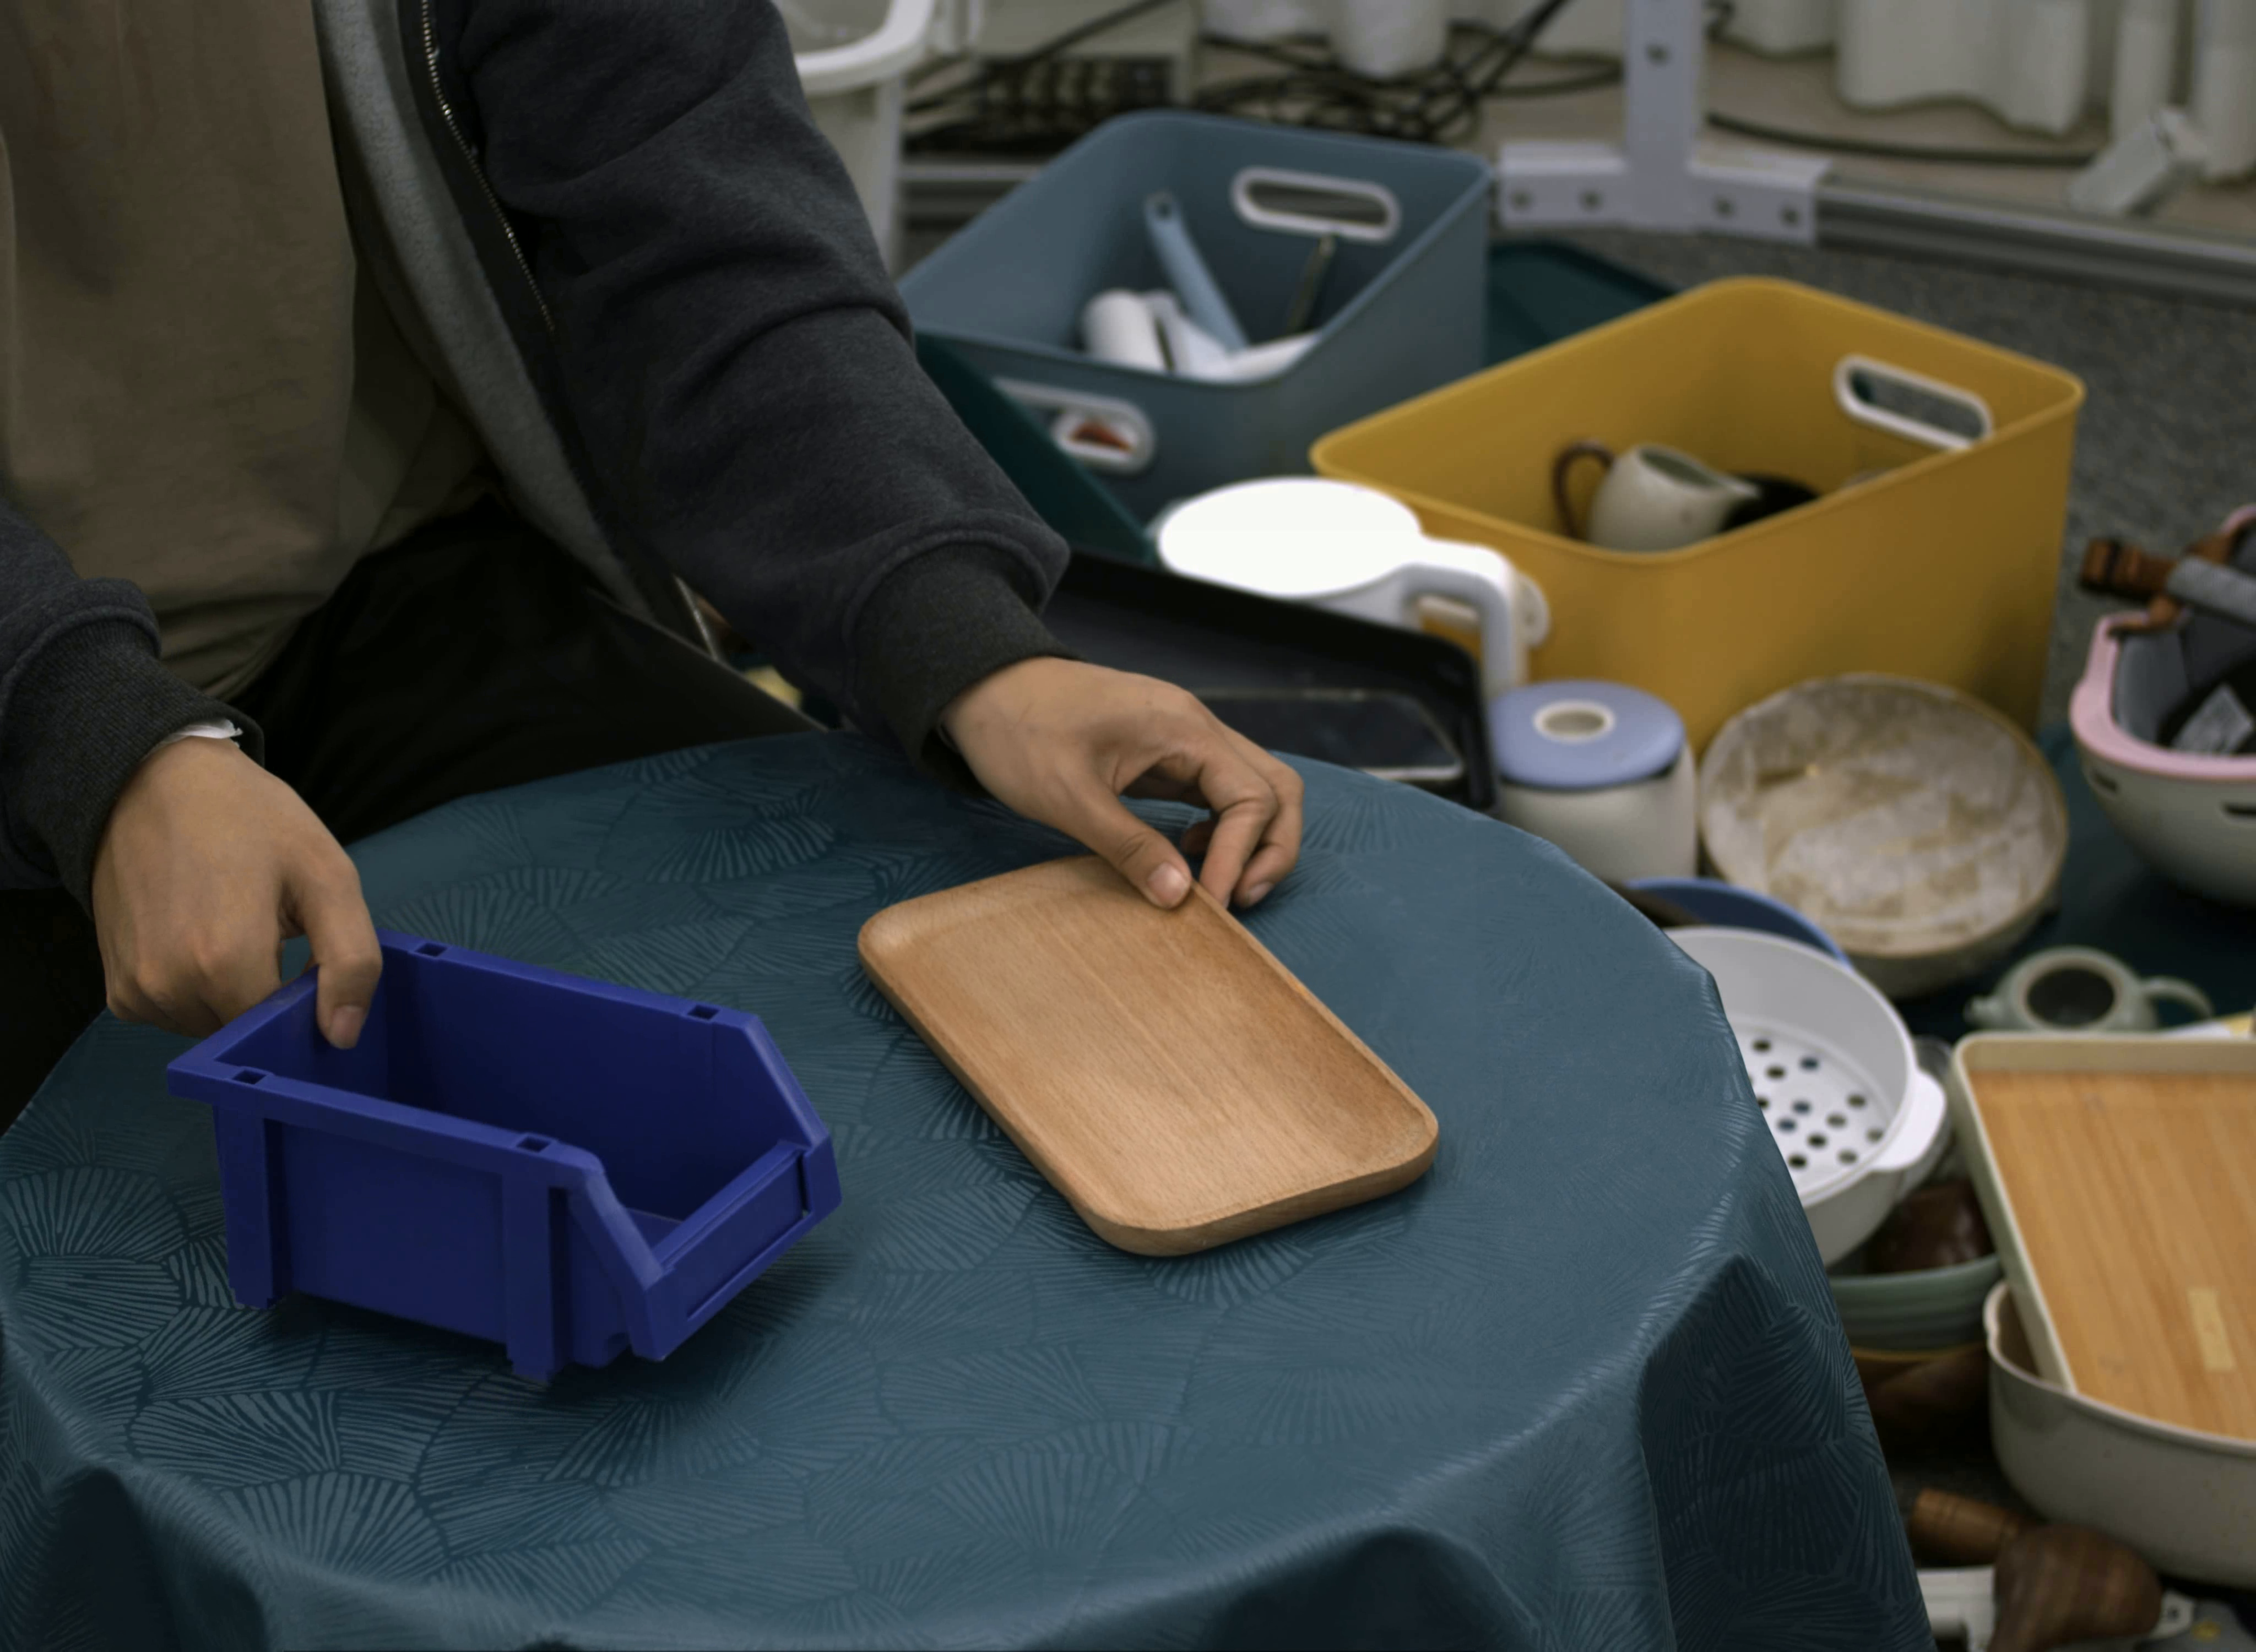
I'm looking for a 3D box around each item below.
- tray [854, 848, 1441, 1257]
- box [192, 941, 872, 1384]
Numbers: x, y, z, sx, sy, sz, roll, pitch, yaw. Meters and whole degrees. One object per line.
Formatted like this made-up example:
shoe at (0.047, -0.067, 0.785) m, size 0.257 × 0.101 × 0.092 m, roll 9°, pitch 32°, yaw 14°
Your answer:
tray at (0.003, 0.075, 1.932) m, size 0.131 × 0.022 × 0.252 m, roll -12°, pitch 28°, yaw -21°
box at (-0.189, 0.109, 1.804) m, size 0.178 × 0.081 × 0.126 m, roll 9°, pitch 24°, yaw 27°
